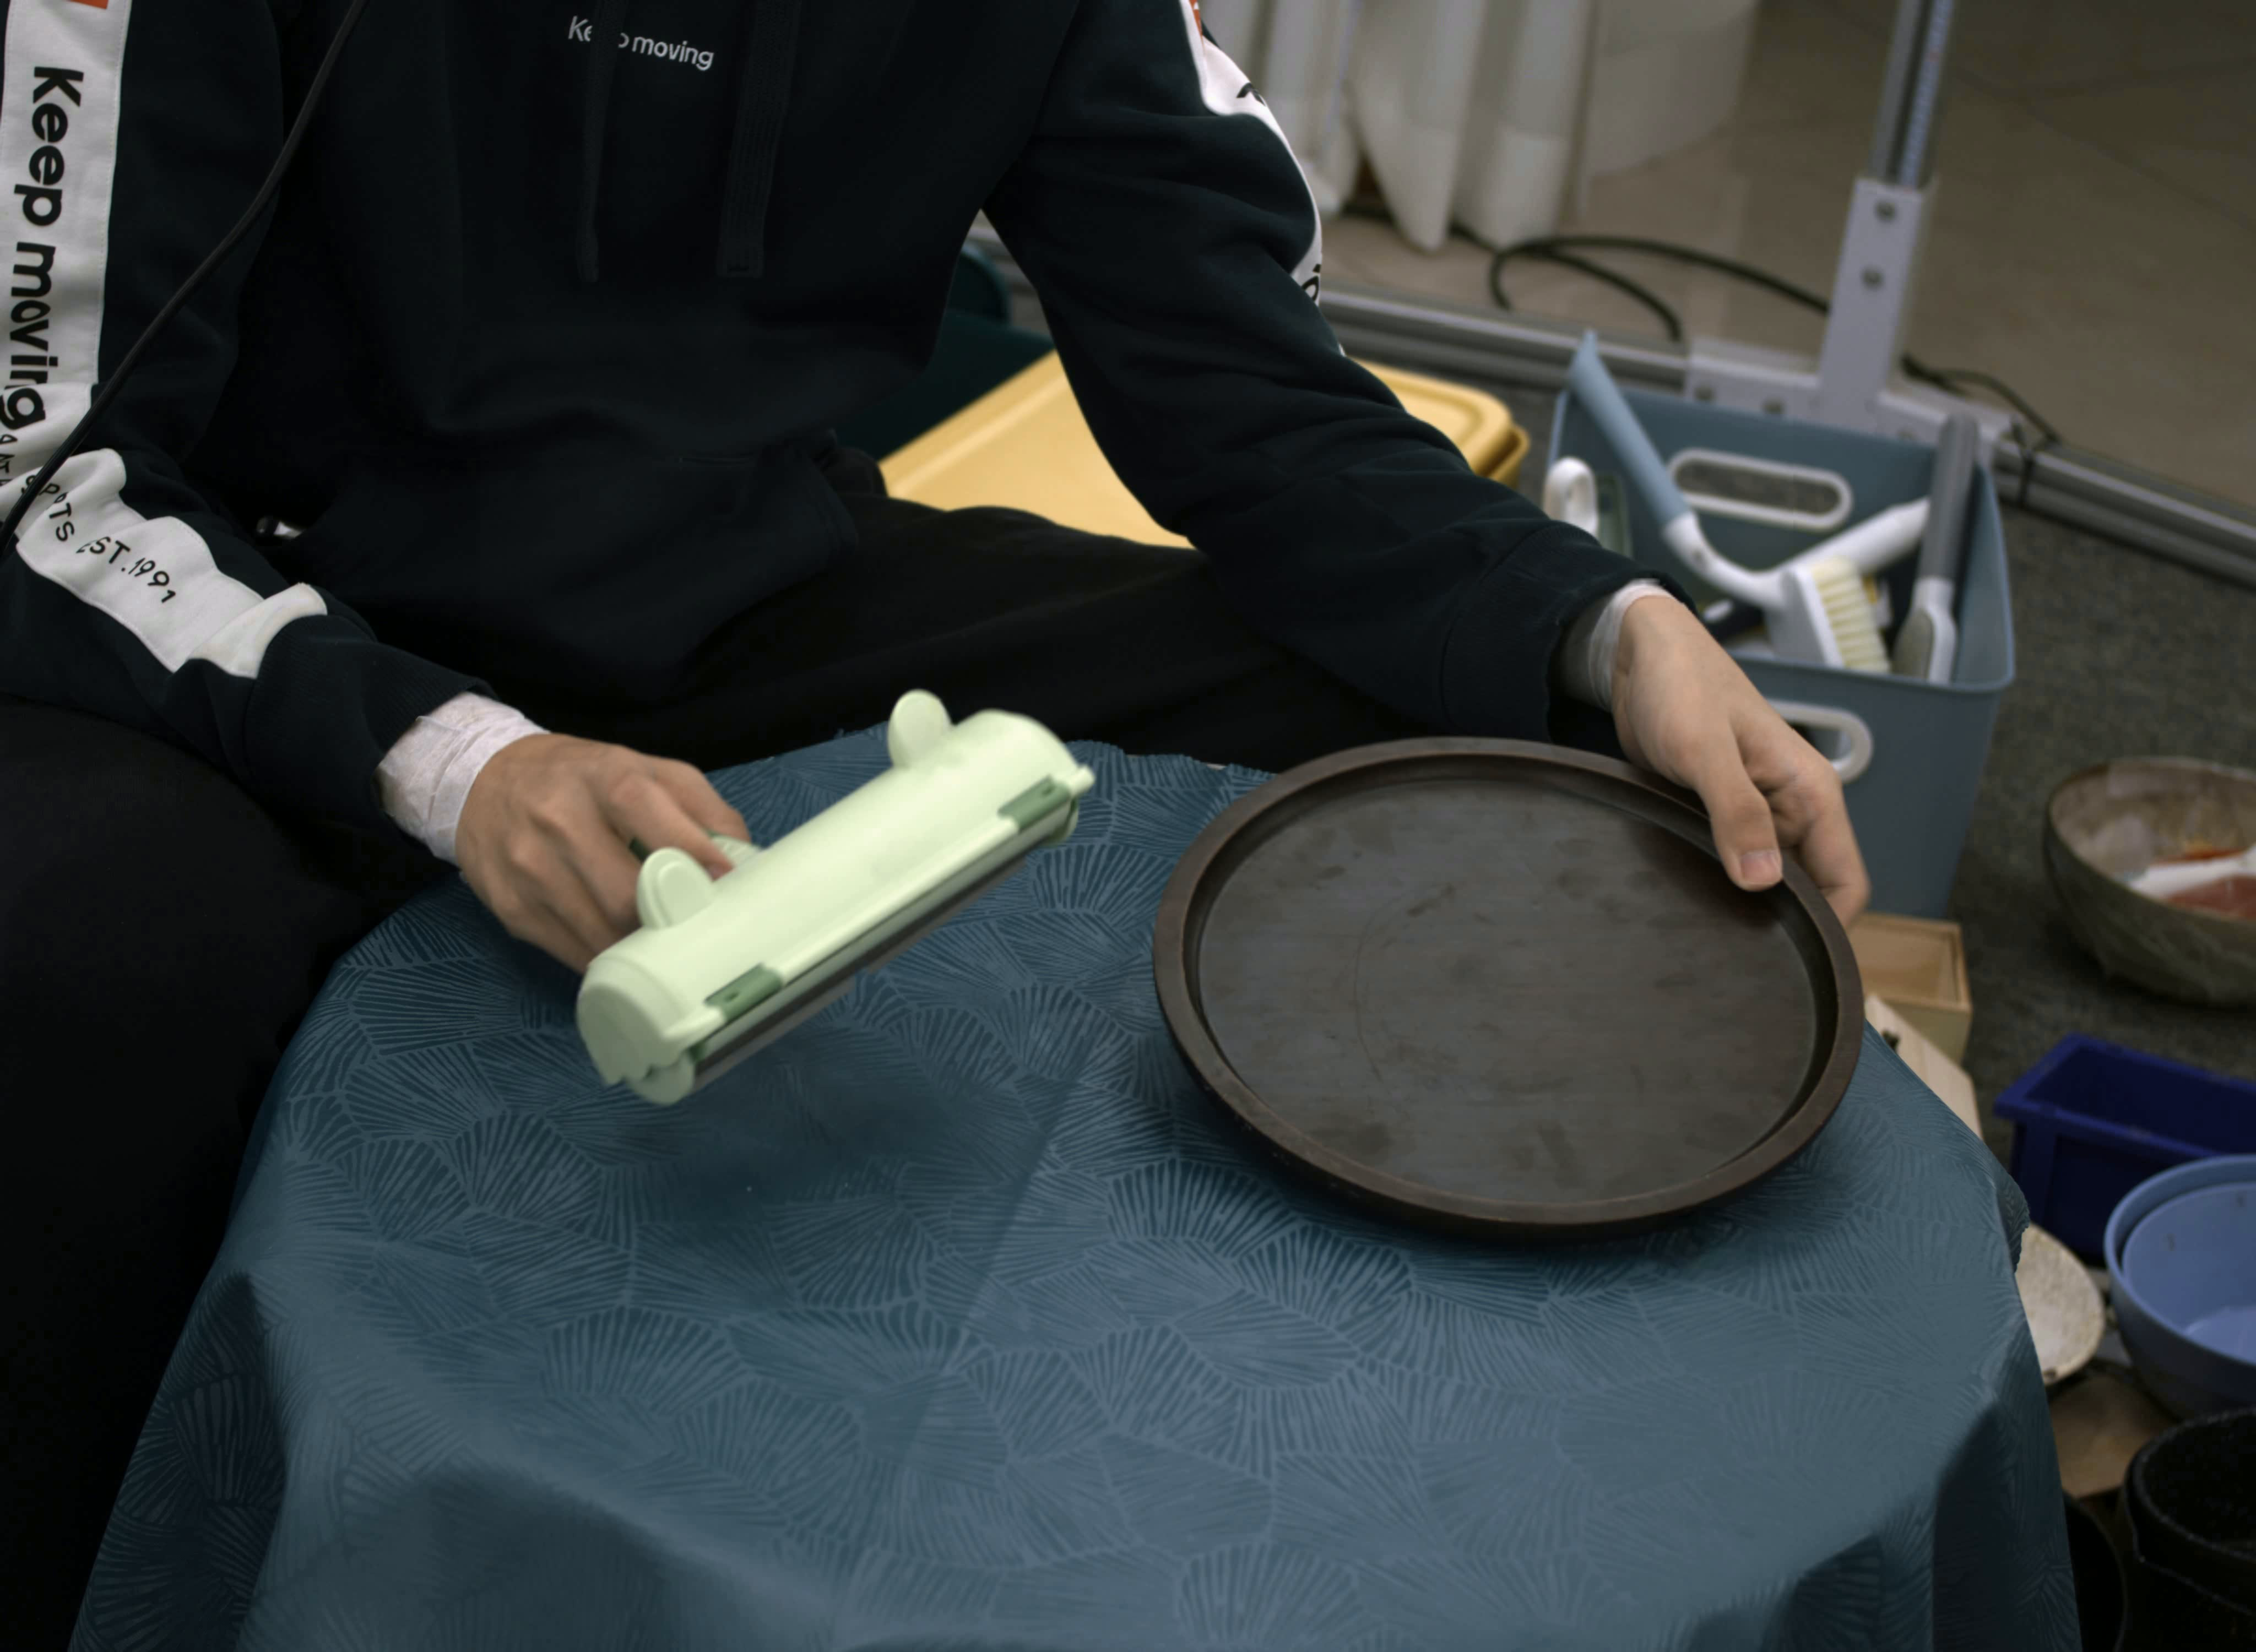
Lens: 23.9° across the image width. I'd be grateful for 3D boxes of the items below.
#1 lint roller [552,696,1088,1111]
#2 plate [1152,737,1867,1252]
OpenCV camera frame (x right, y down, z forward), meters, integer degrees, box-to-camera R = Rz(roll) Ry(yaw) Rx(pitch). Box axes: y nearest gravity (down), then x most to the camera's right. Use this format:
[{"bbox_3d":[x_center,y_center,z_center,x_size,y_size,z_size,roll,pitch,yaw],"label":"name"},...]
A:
[{"bbox_3d":[-0.140,0.007,1.808,0.184,0.082,0.198,20,41,42],"label":"lint roller"},{"bbox_3d":[0.134,0.059,1.873,0.254,0.029,0.257,1,41,-1],"label":"plate"}]
